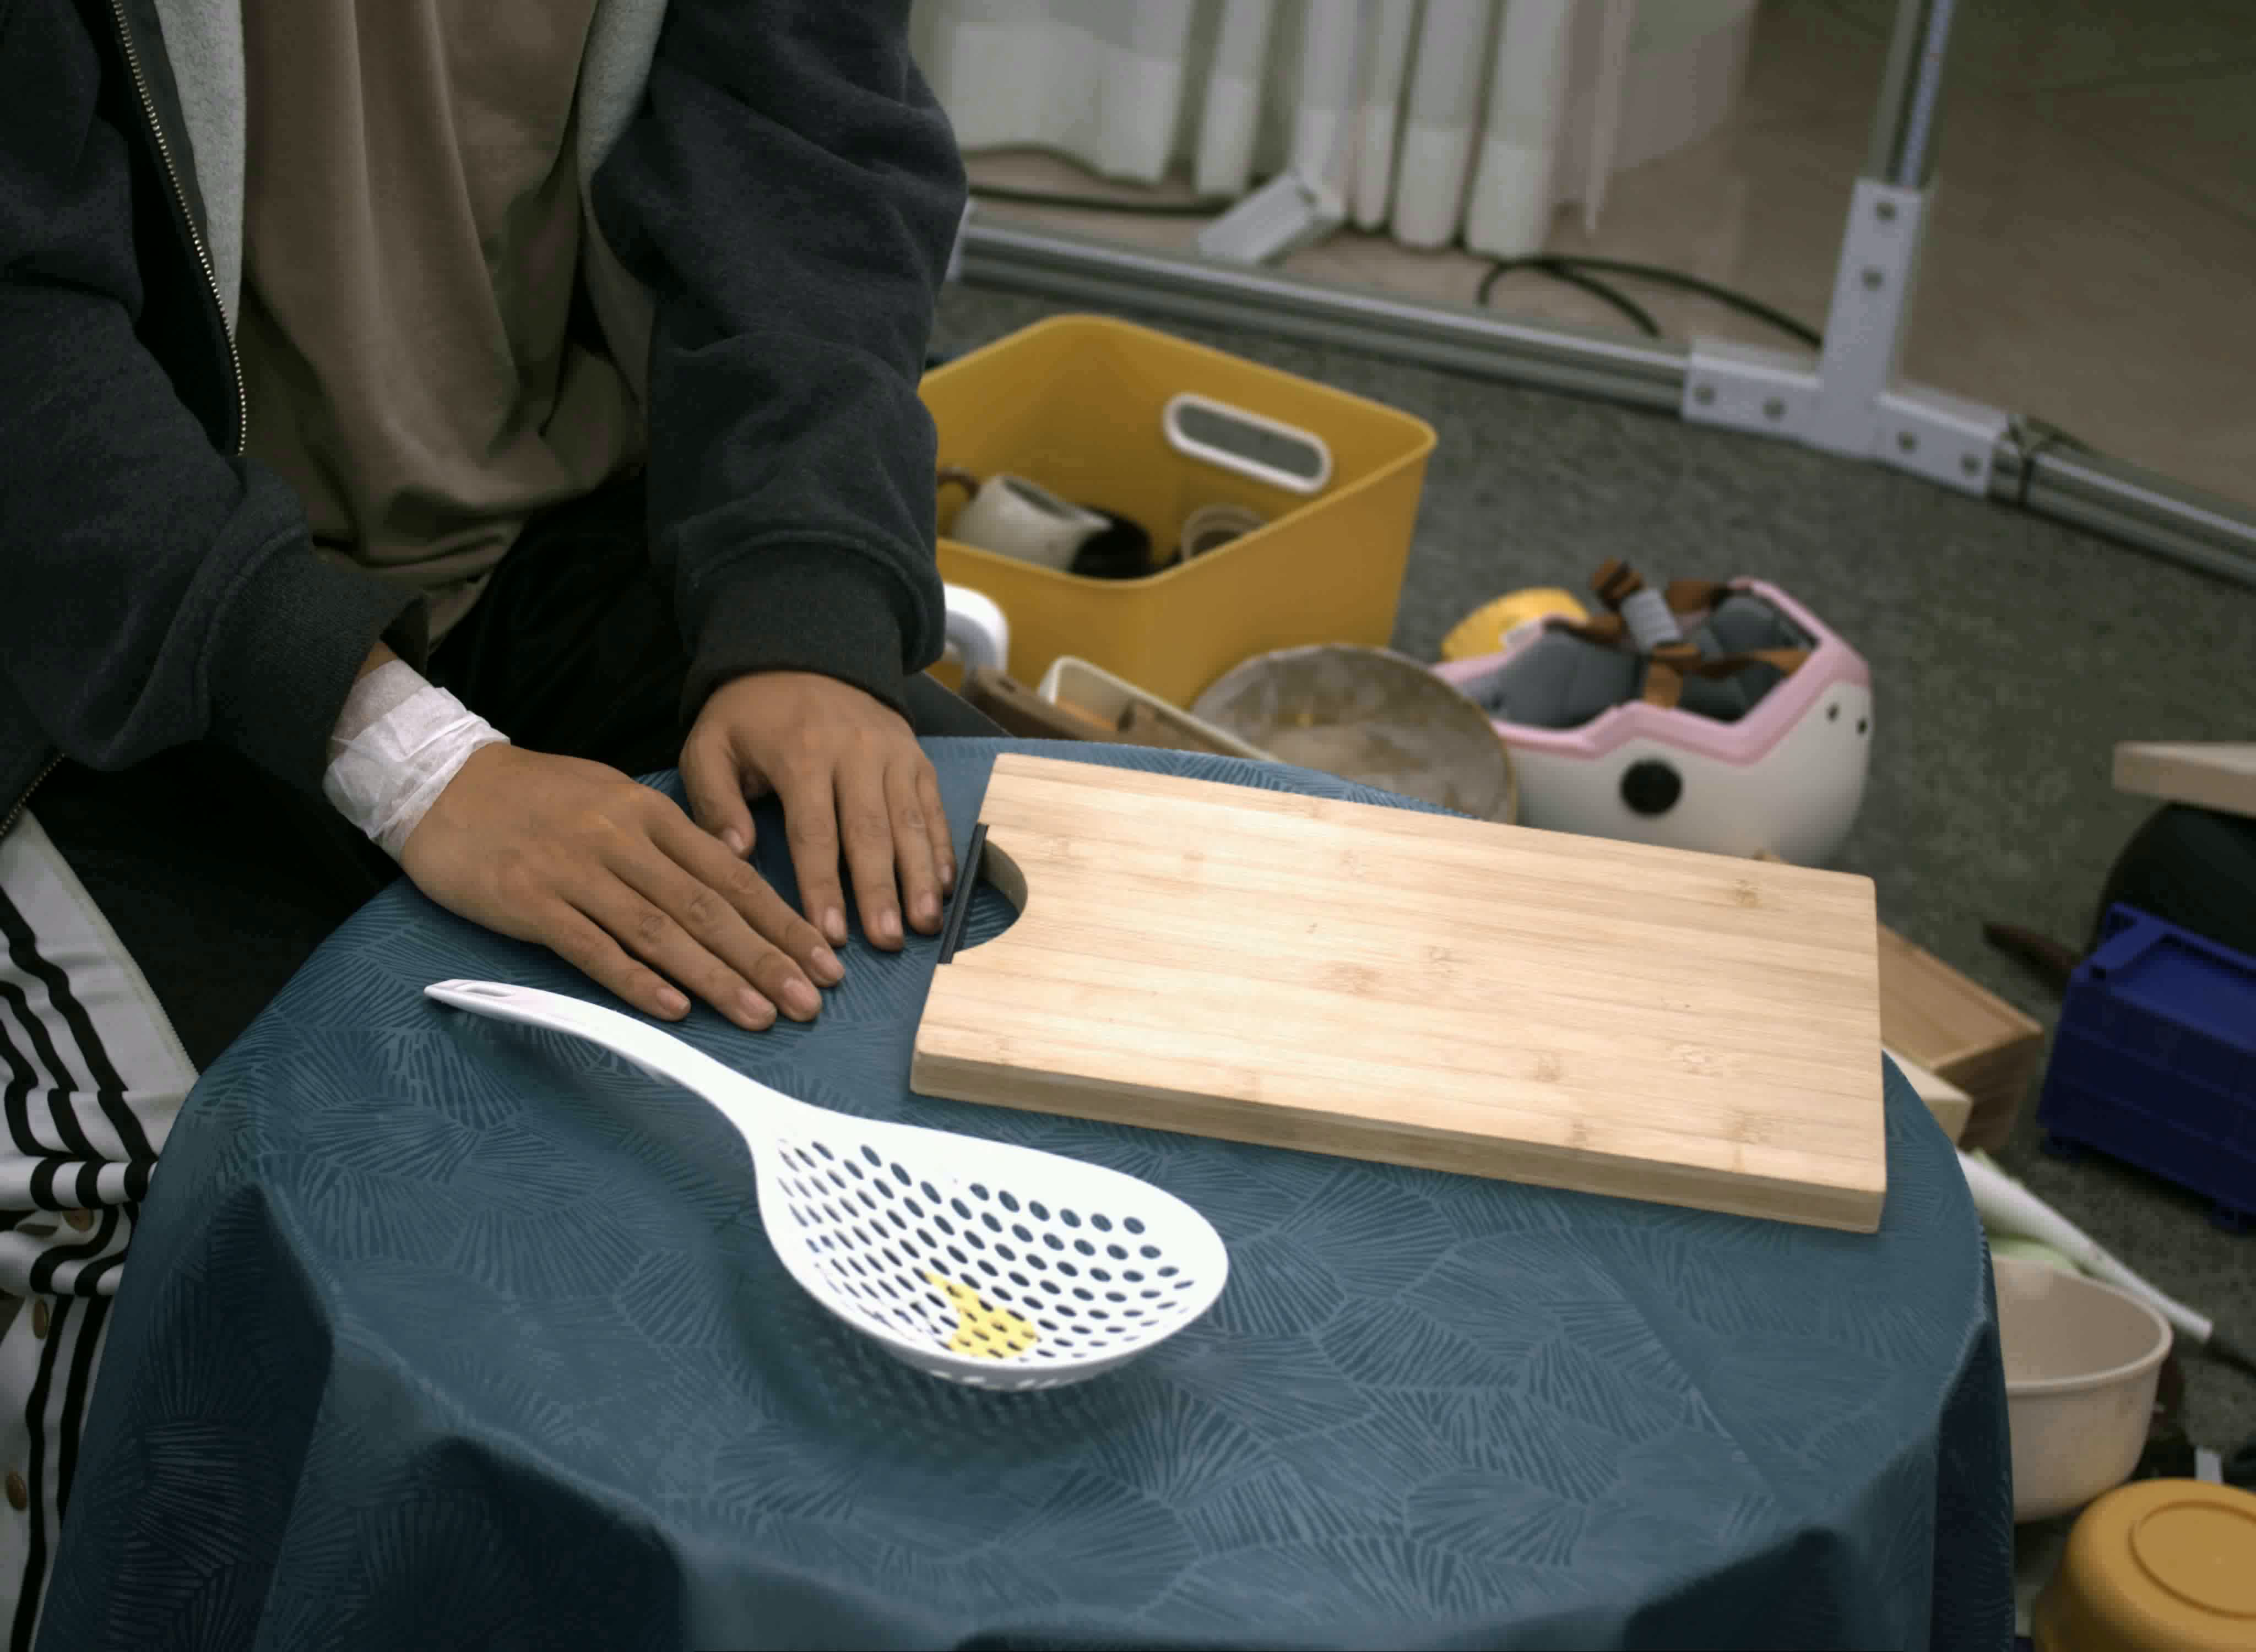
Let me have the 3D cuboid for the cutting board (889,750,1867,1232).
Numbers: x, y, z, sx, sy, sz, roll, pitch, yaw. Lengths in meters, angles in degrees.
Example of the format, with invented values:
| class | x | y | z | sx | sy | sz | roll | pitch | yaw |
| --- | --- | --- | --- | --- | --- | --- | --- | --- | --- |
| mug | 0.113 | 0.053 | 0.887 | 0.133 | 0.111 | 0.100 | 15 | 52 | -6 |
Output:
| class | x | y | z | sx | sy | sz | roll | pitch | yaw |
| --- | --- | --- | --- | --- | --- | --- | --- | --- | --- |
| cutting board | 0.099 | 0.056 | 1.938 | 0.348 | 0.023 | 0.252 | 8 | 26 | 2 |

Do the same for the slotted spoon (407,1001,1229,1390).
| class | x | y | z | sx | sy | sz | roll | pitch | yaw |
| --- | --- | --- | --- | --- | --- | --- | --- | --- | --- |
| slotted spoon | -0.117 | 0.108 | 1.760 | 0.350 | 0.050 | 0.136 | 28 | 36 | 36 |
